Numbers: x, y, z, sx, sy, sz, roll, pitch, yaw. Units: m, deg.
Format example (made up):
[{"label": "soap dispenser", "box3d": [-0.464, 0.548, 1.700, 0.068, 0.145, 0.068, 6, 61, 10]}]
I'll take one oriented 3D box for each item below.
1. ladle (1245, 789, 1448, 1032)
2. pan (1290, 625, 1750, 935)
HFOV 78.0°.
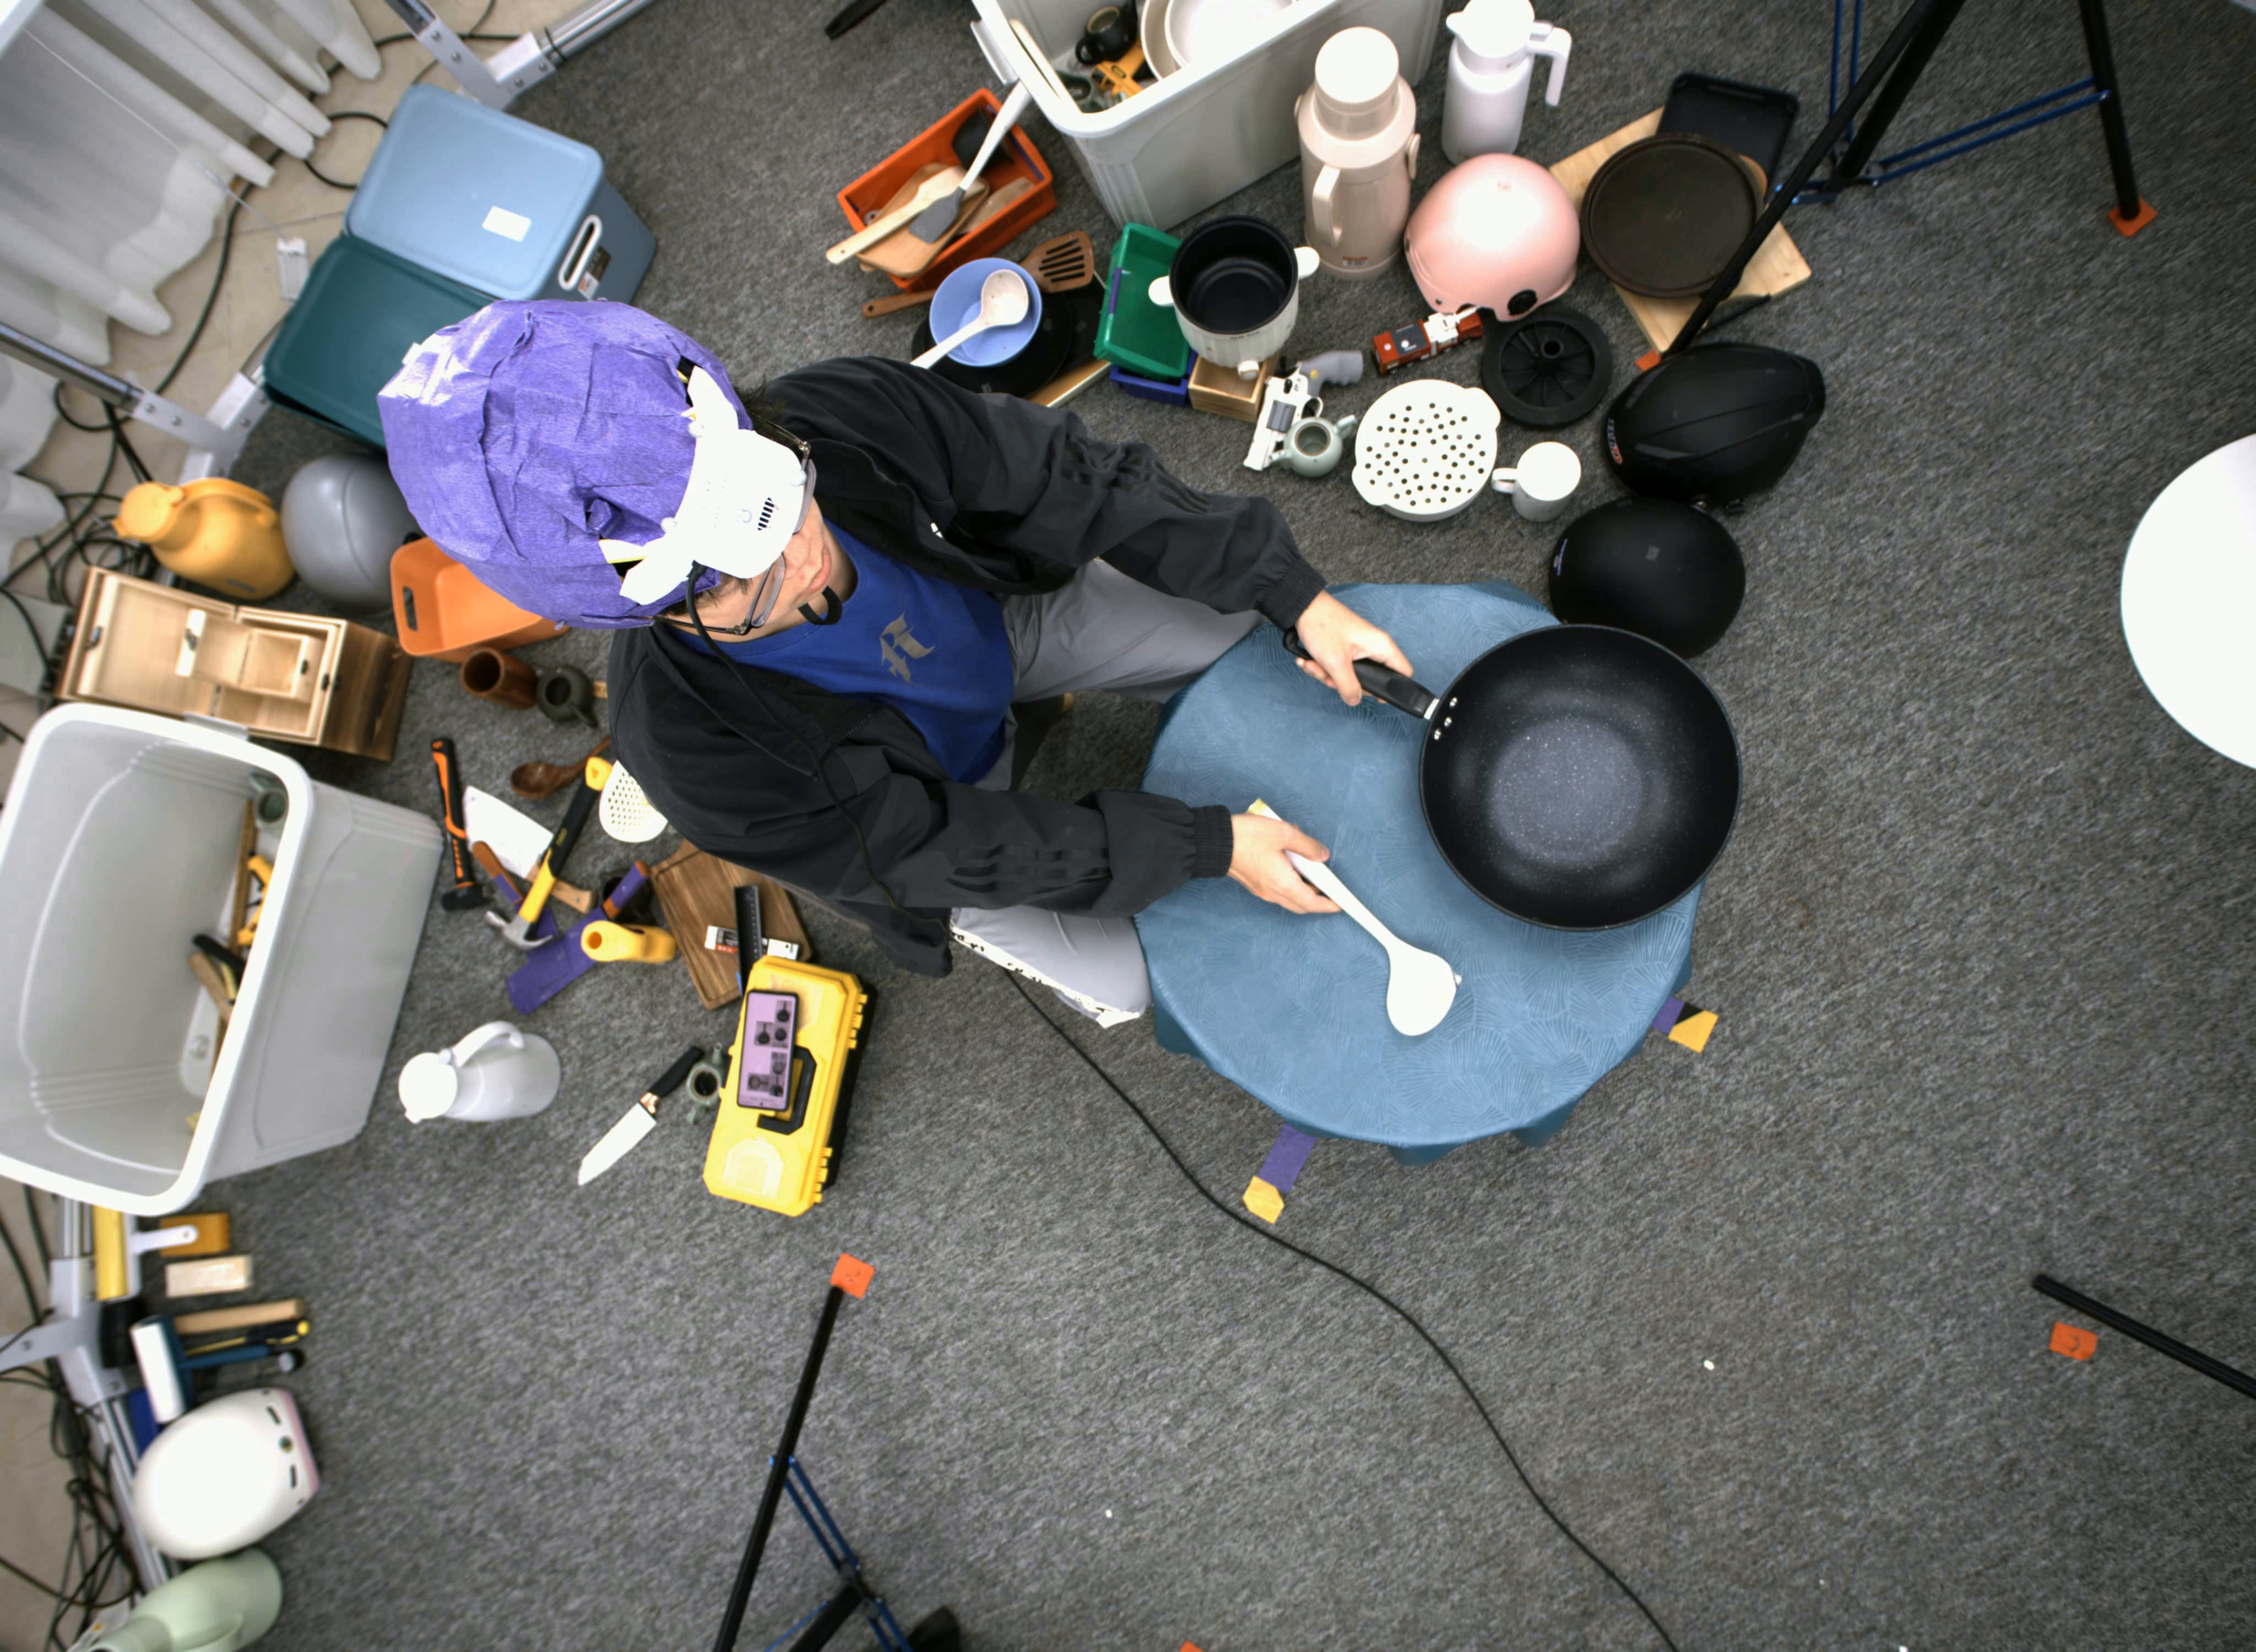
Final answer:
[{"label": "ladle", "box3d": [0.222, 0.083, 1.436, 0.292, 0.068, 0.092, 47, 135, 6]}, {"label": "pan", "box3d": [0.382, -0.082, 1.392, 0.476, 0.112, 0.310, 27, 89, 13]}]
